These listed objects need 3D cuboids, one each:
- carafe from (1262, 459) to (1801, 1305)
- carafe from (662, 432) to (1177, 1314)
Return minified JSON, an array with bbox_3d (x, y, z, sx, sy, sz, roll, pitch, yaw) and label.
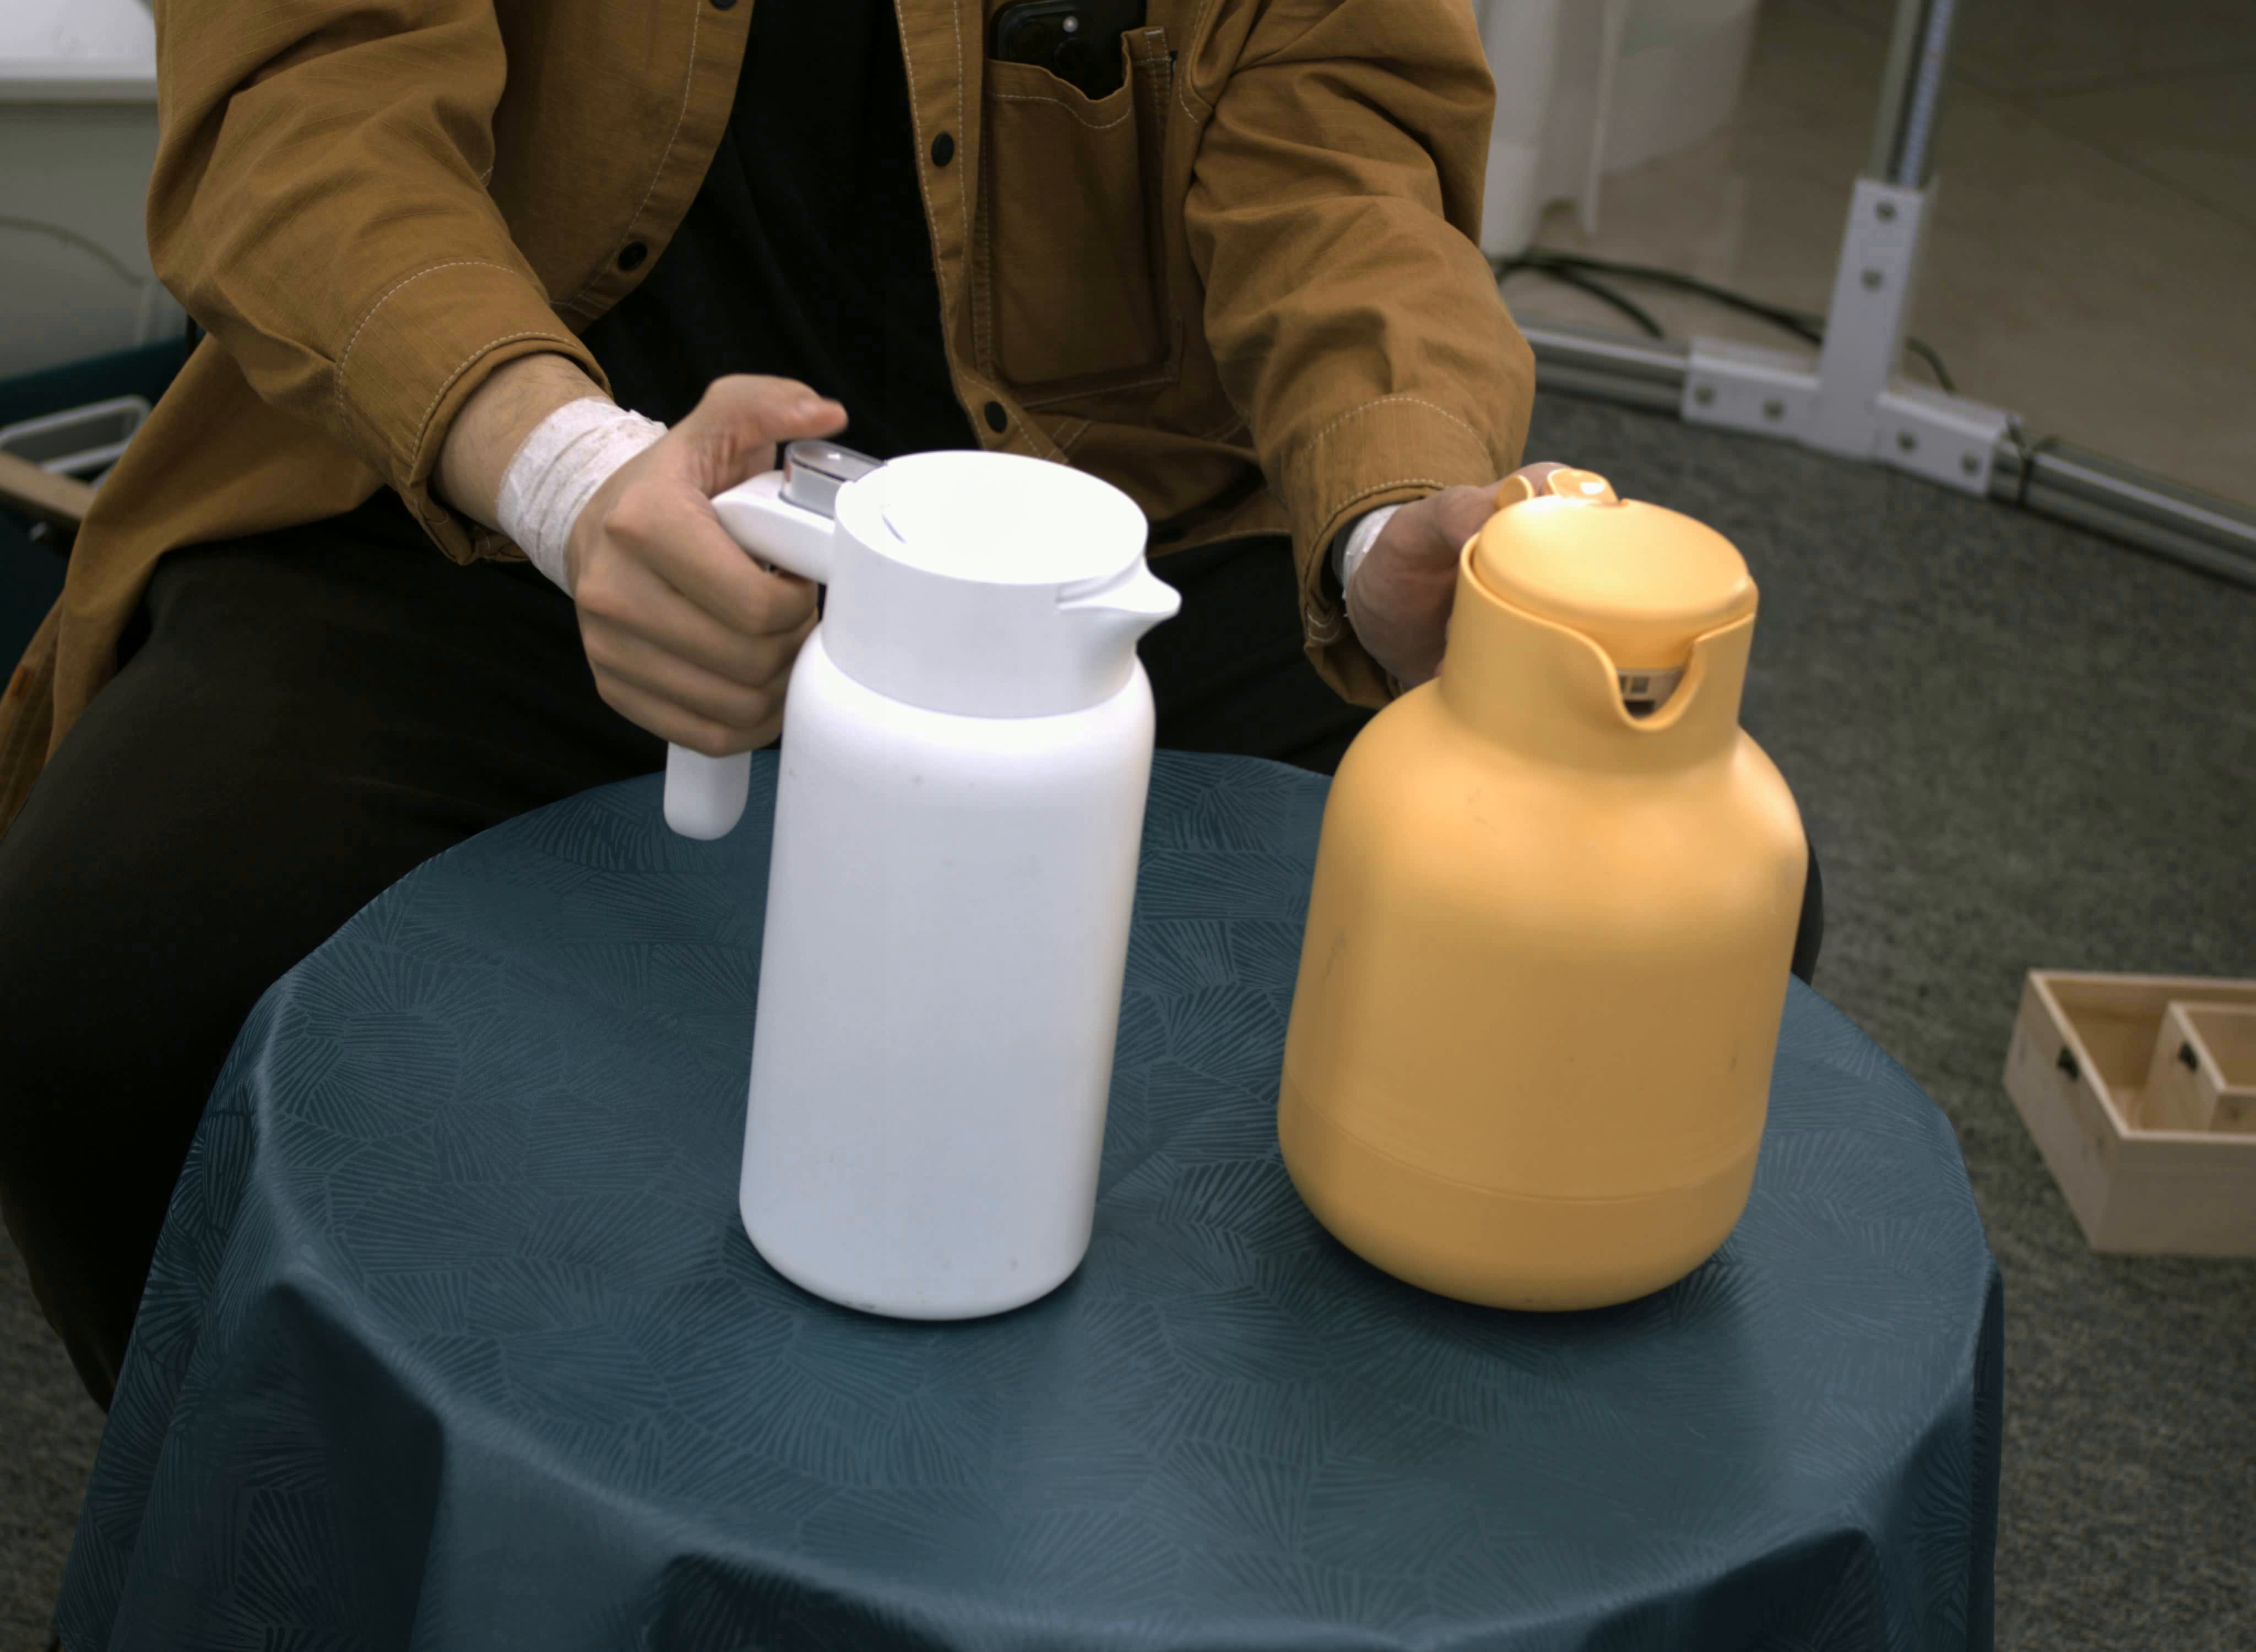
[{"bbox_3d":[0.139,0.009,1.772,0.163,0.259,0.204,6,28,-8],"label":"carafe"},{"bbox_3d":[-0.074,0.012,1.713,0.173,0.268,0.123,21,32,25],"label":"carafe"}]
